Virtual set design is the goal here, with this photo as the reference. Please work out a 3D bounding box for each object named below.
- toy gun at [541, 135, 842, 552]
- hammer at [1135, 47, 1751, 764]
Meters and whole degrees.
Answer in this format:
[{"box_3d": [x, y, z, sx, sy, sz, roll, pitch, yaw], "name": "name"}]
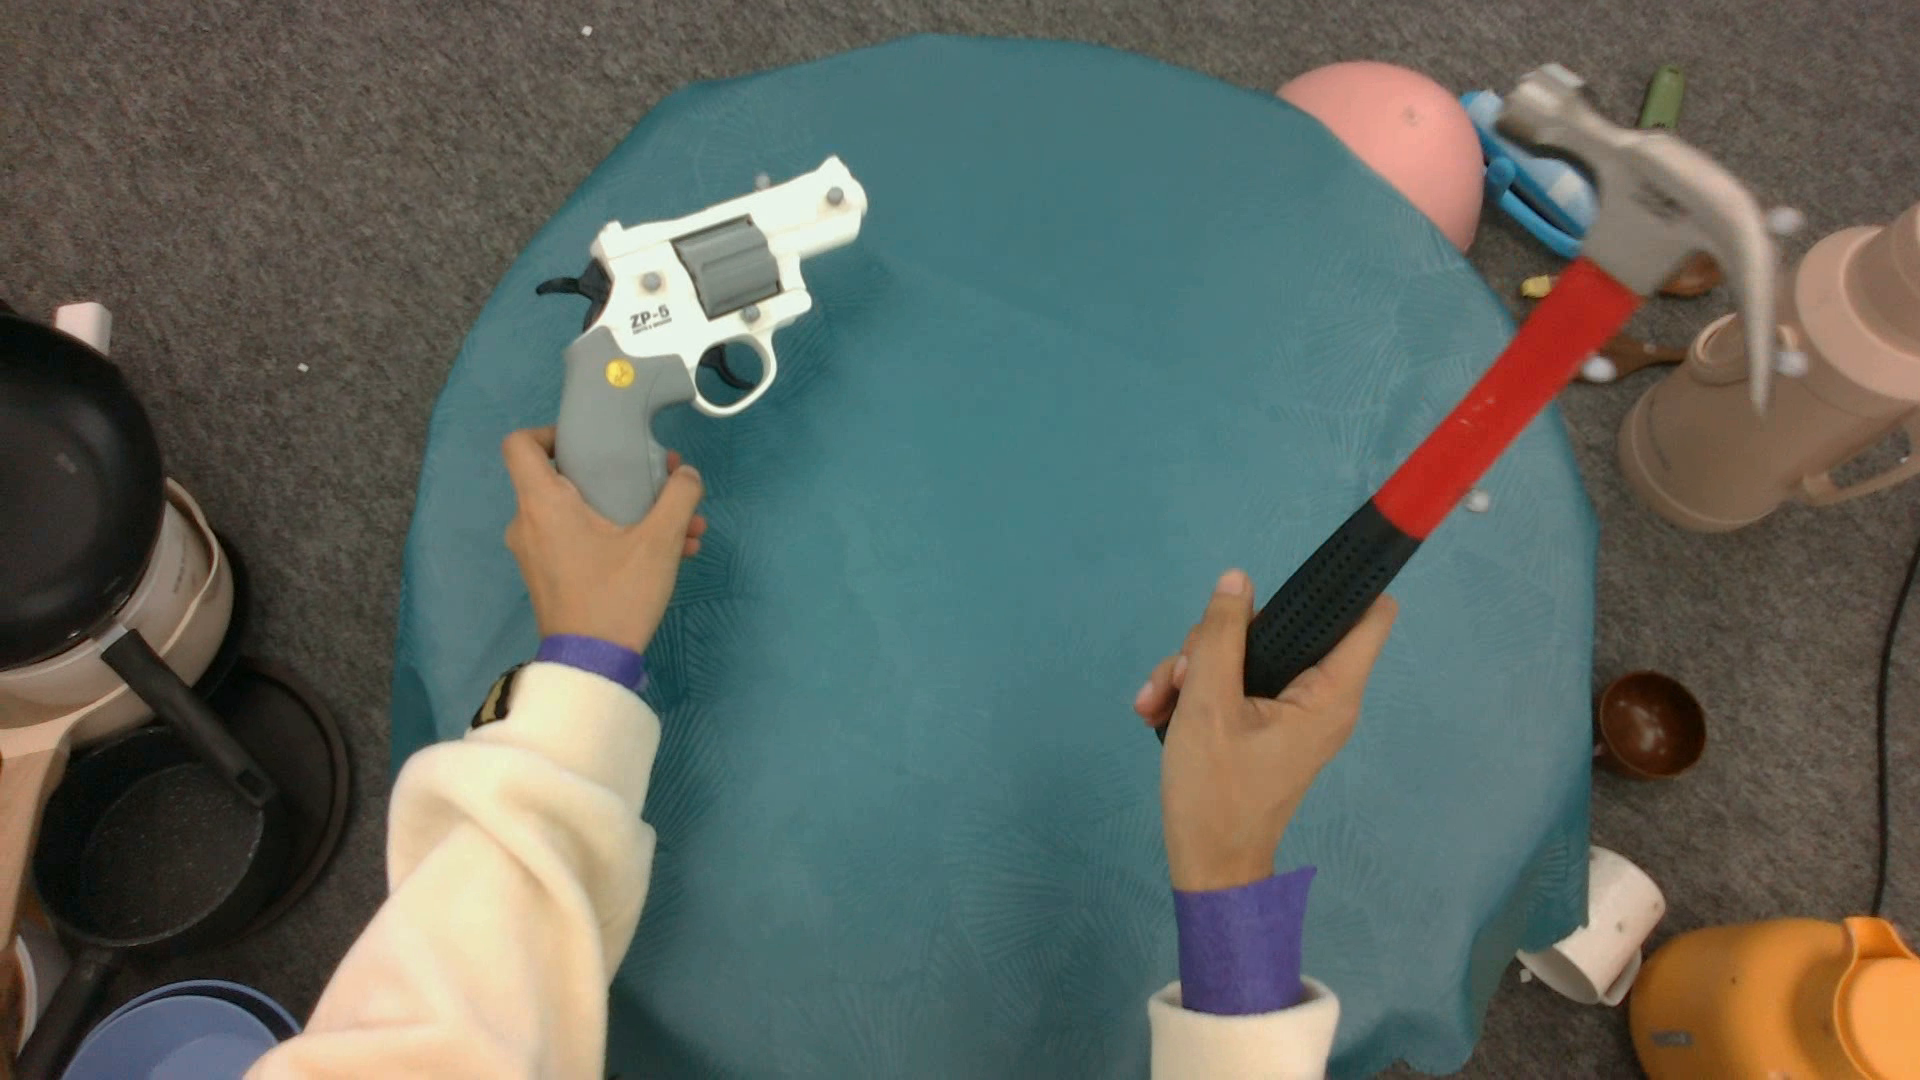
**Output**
[{"box_3d": [-0.121, -0.096, 0.646, 0.210, 0.038, 0.141, -31, 97, -28], "name": "toy gun"}, {"box_3d": [0.145, -0.016, 0.466, 0.111, 0.276, 0.026, 38, 34, 7], "name": "hammer"}]
